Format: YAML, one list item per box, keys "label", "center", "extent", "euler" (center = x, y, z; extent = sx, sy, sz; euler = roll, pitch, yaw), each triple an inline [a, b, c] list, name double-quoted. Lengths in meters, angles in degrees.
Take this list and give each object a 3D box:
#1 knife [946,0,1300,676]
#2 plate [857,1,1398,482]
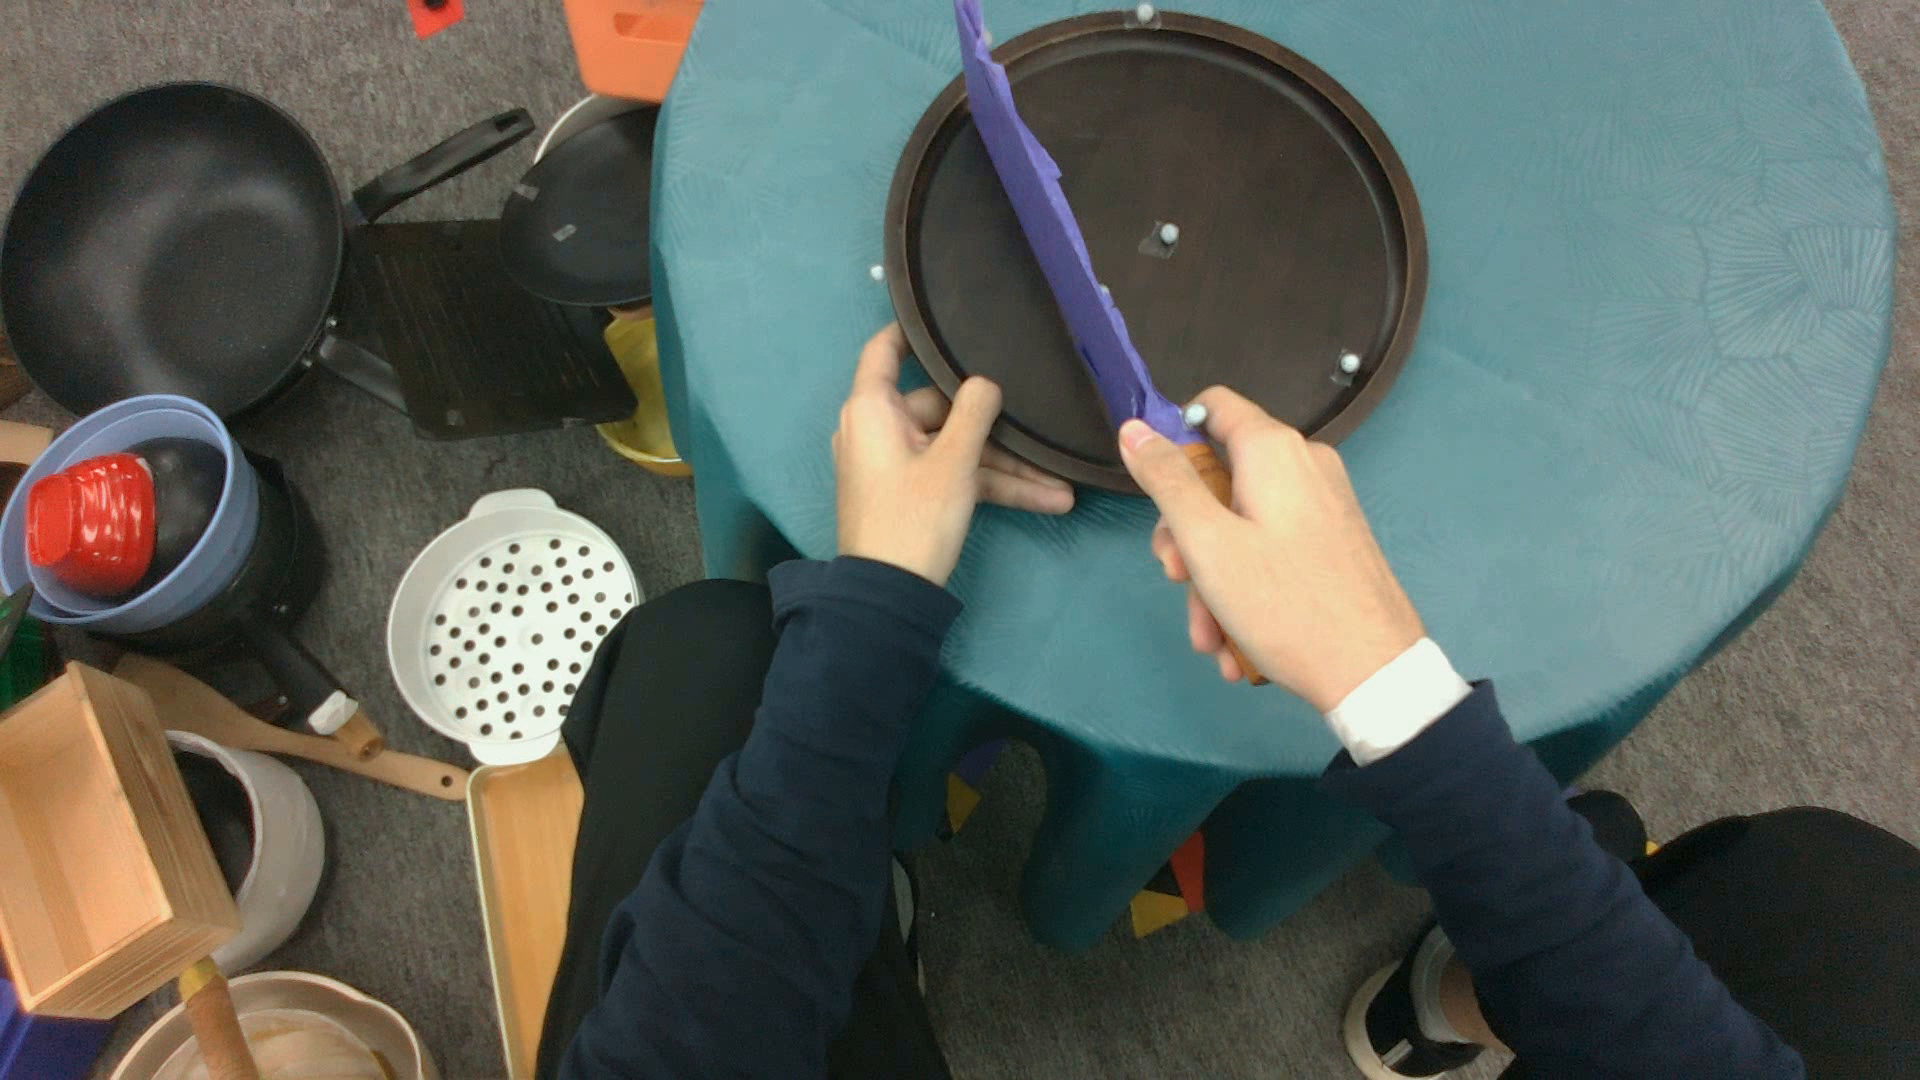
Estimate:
- label: "knife"
  center: [0.057, -0.088, 0.567]
  extent: [0.032, 0.103, 0.316]
  euler: [-21, 74, -2]
- label: "plate"
  center: [0.079, -0.143, 0.647]
  extent: [0.255, 0.029, 0.255]
  euler: [1, 70, -3]
